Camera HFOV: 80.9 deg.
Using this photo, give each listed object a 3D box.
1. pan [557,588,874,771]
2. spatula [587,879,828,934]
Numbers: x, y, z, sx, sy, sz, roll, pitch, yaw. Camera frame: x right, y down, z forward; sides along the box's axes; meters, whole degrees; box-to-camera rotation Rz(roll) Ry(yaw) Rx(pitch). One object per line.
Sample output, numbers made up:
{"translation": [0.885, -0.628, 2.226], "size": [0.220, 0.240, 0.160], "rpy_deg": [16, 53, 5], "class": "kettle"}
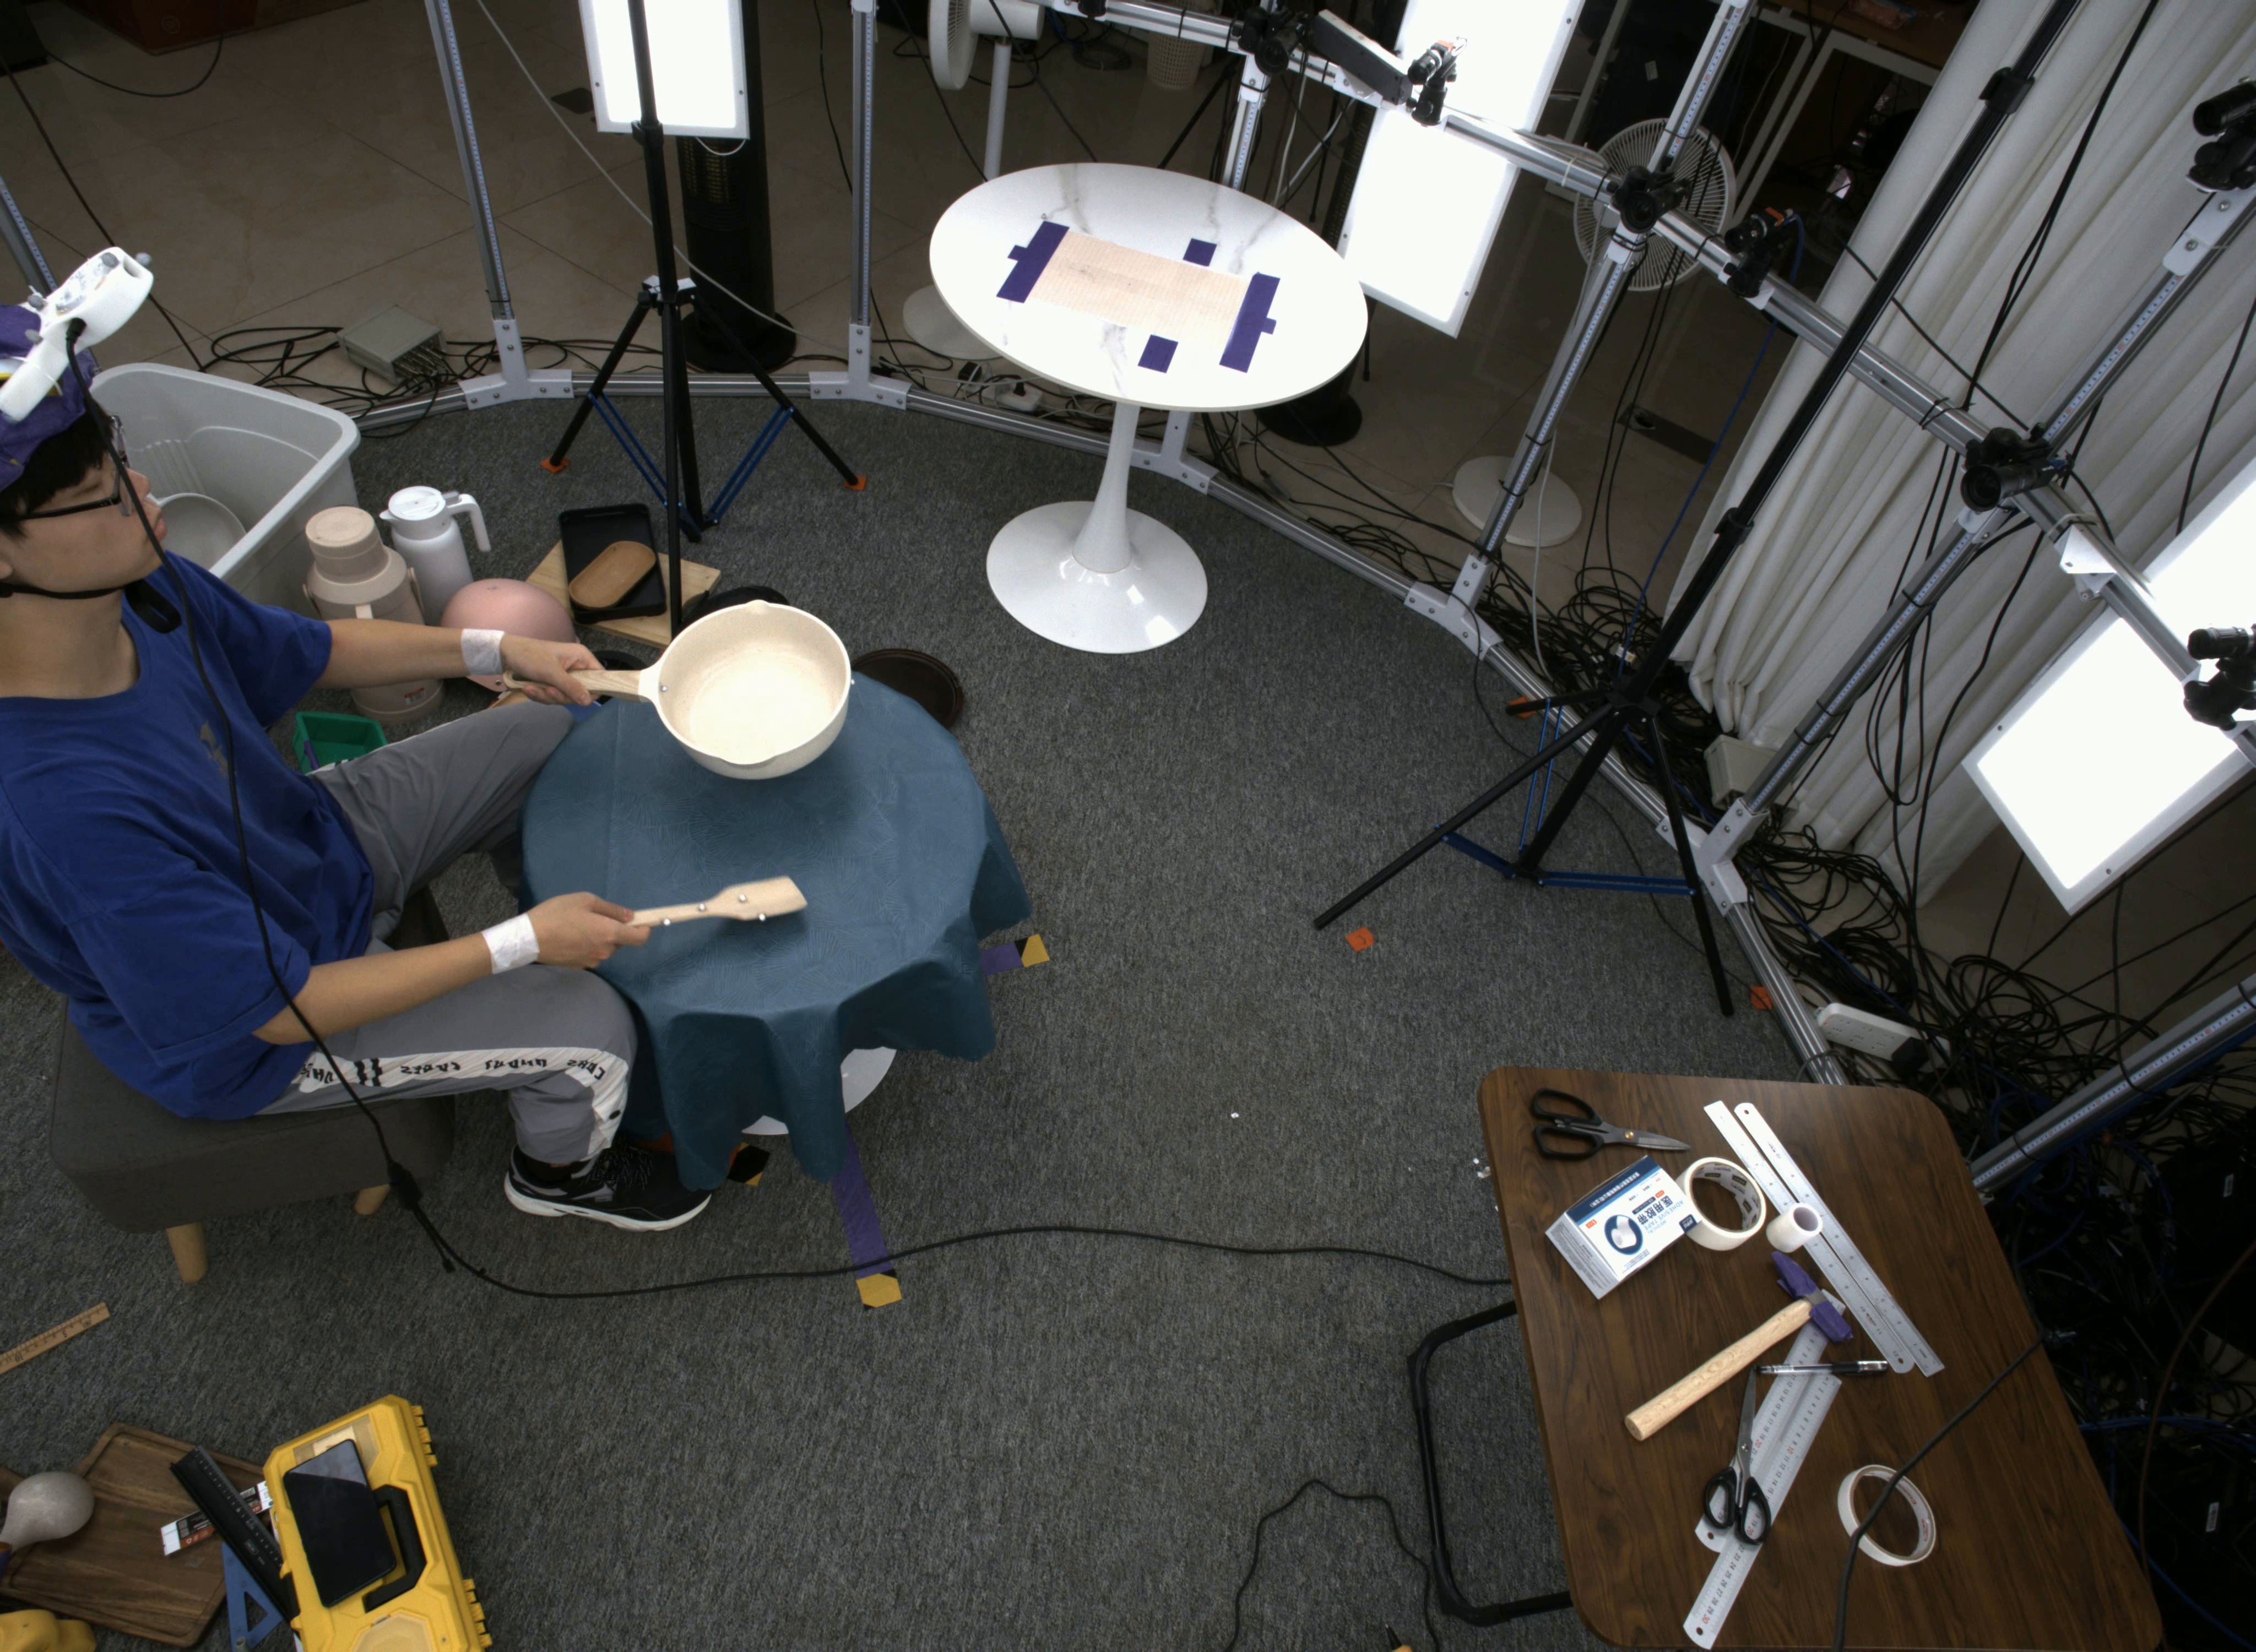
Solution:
{"translation": [-0.547, -0.183, 1.692], "size": [0.433, 0.104, 0.259], "rpy_deg": [-3, 63, -8], "class": "pan"}
{"translation": [-0.511, 0.100, 1.565], "size": [0.297, 0.011, 0.069], "rpy_deg": [-7, 34, -34], "class": "spatula"}
